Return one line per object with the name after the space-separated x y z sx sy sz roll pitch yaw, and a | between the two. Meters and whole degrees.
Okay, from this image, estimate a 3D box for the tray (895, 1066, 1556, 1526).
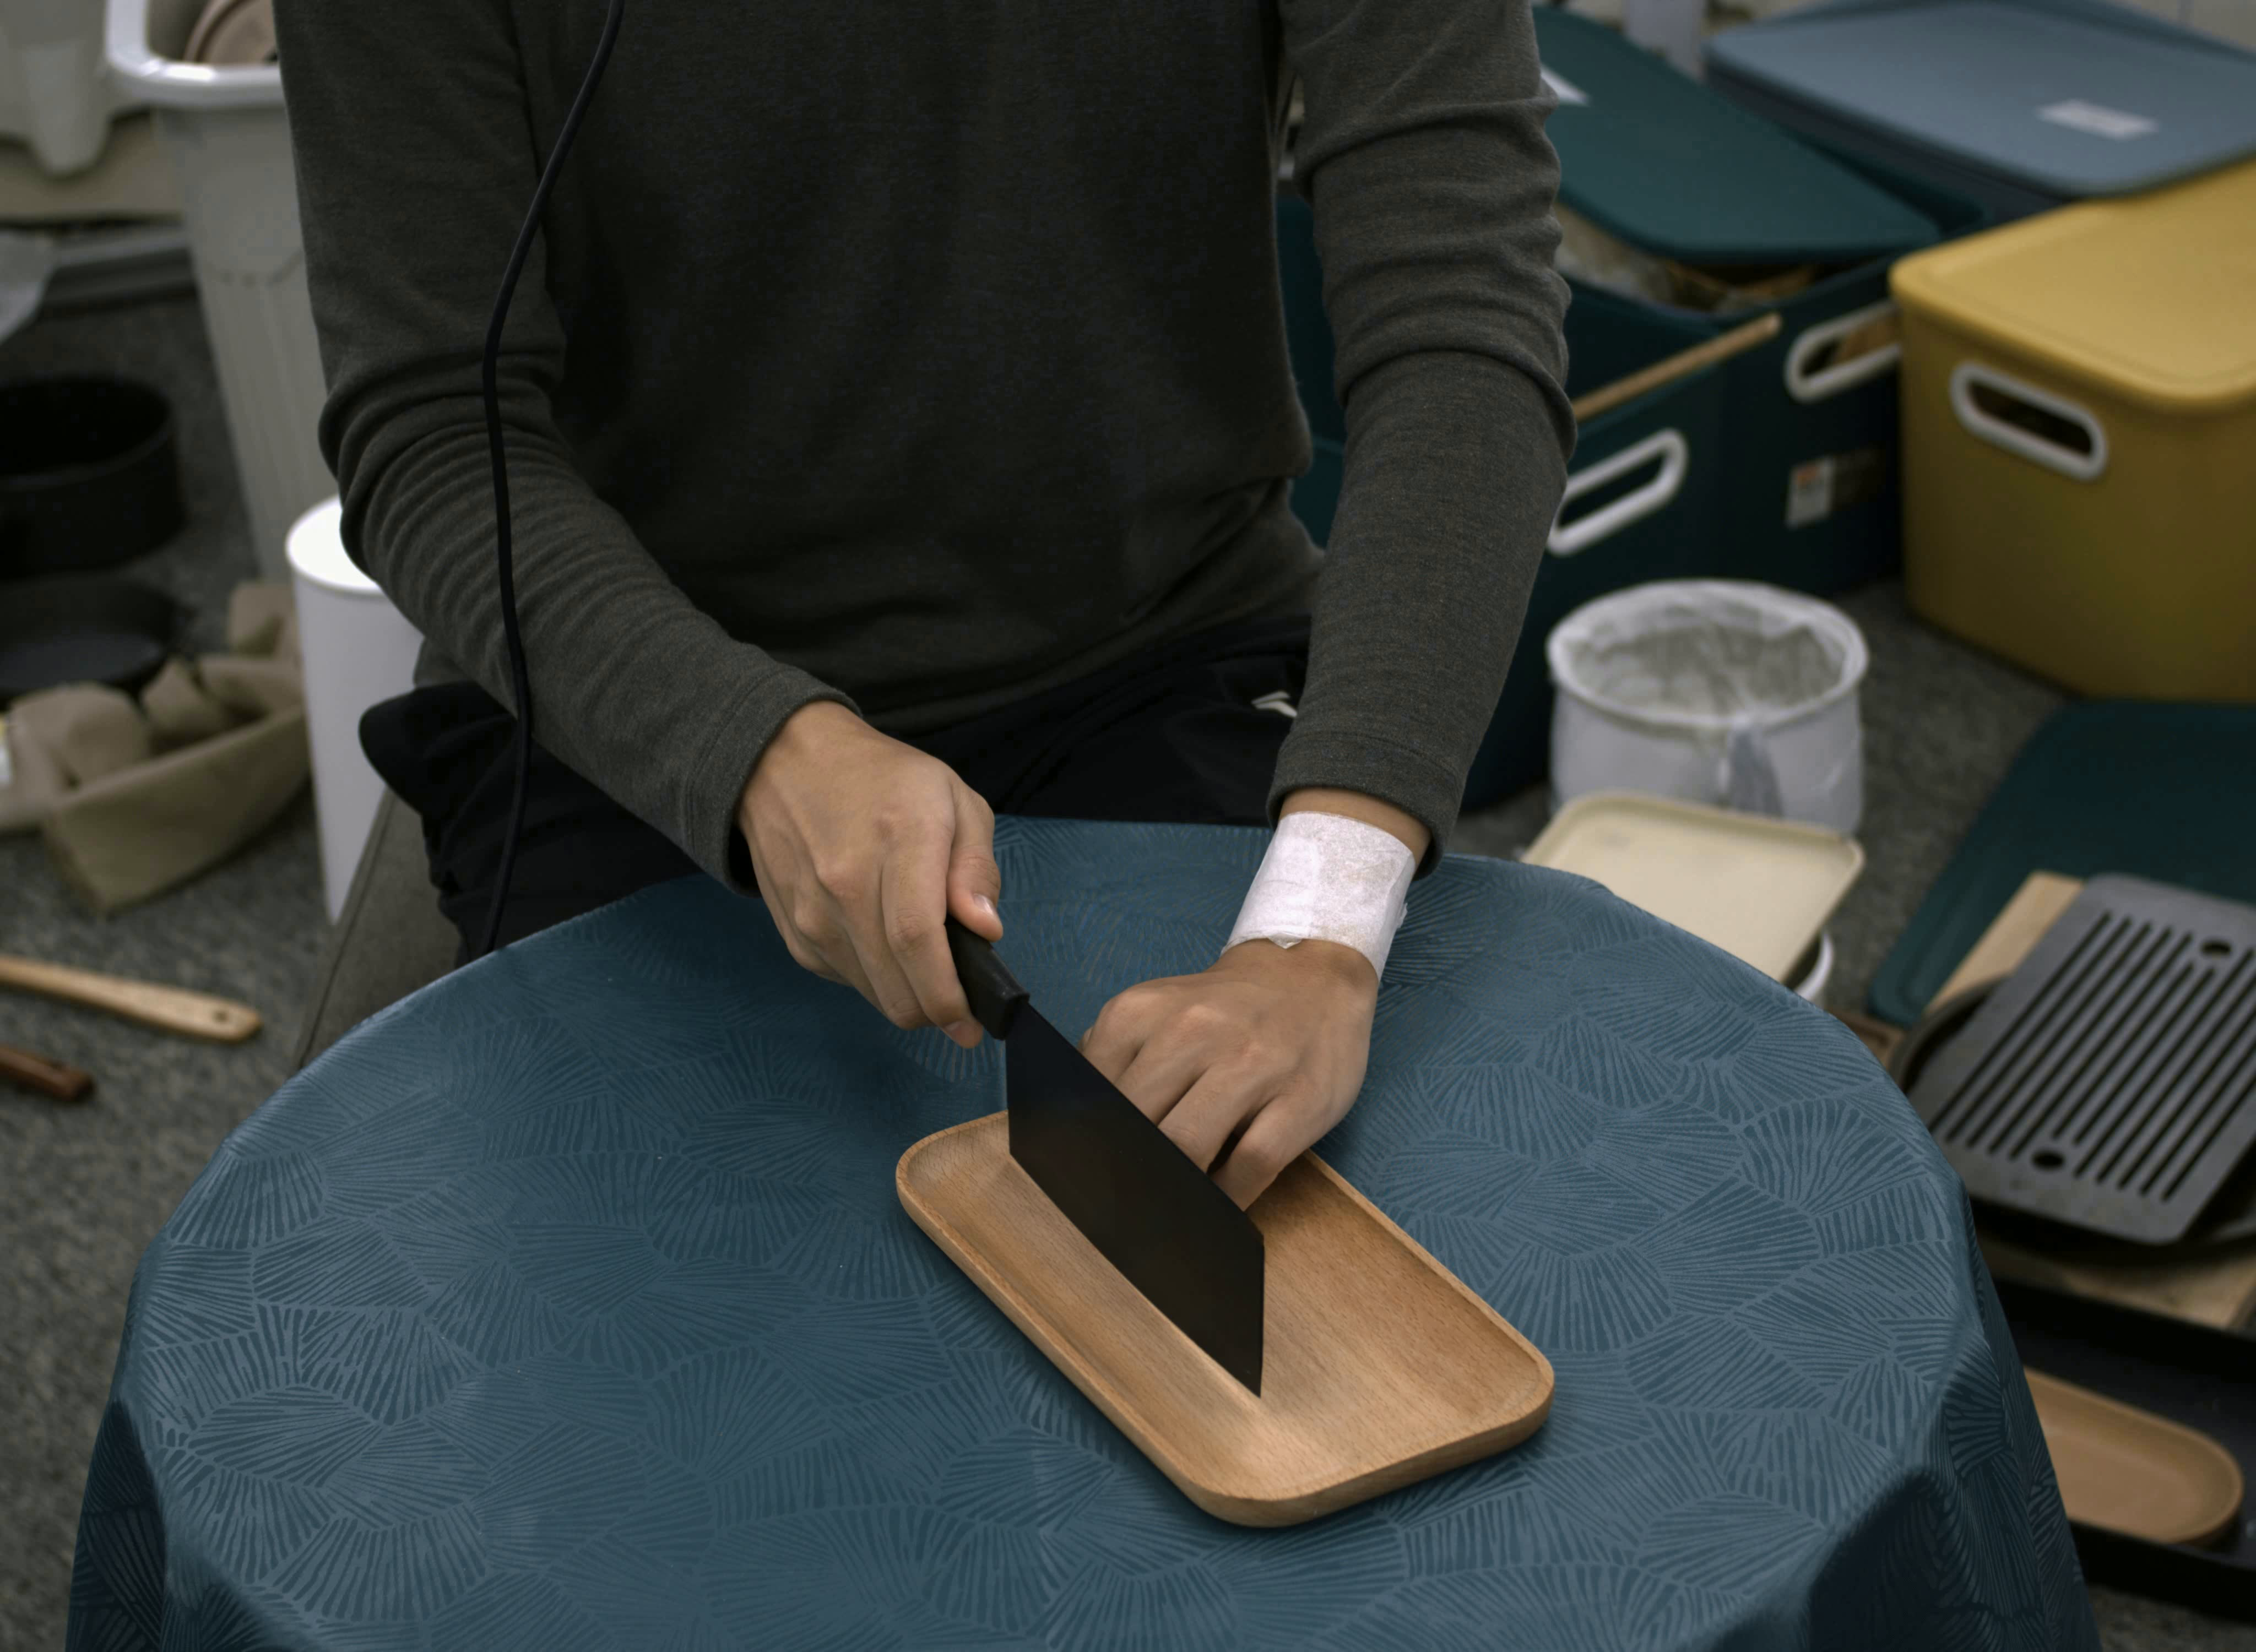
0.027 0.147 1.793 0.131 0.022 0.252 -13 28 -24 | tray

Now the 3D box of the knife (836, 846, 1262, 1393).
-0.027 0.087 1.827 0.021 0.080 0.304 -11 32 -24 | knife
